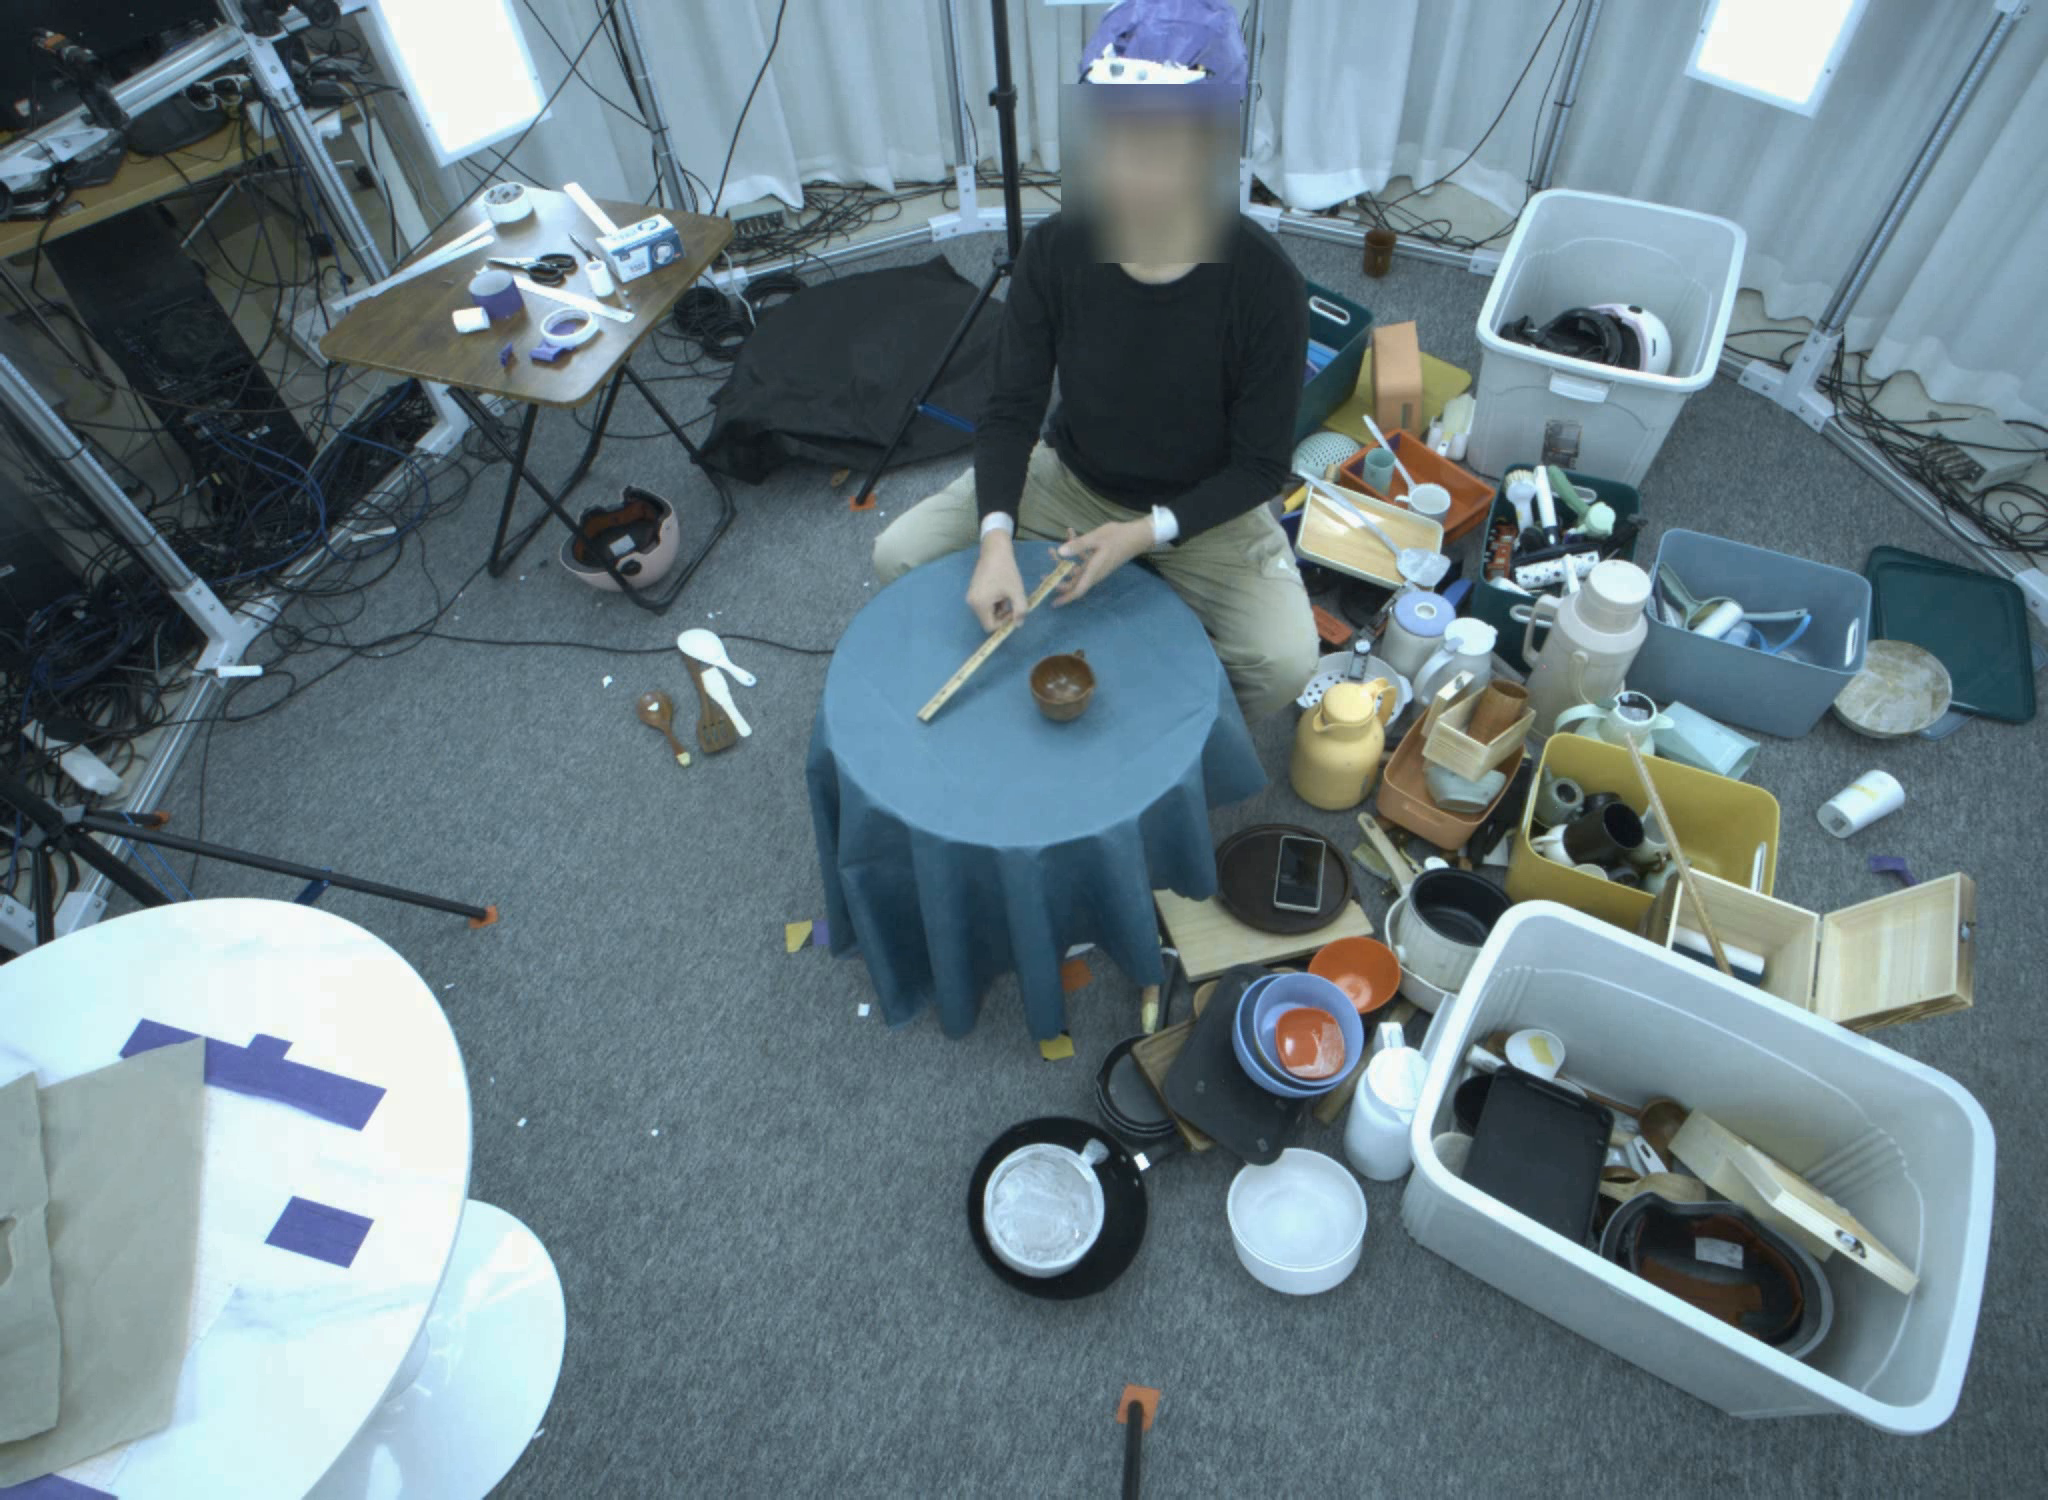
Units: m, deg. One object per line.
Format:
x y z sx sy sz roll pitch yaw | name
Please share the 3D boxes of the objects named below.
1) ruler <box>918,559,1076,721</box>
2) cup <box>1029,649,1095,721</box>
-0.042 -0.170 1.845 0.332 0.022 0.027 -47 44 -9 | ruler
0.062 -0.095 1.813 0.095 0.068 0.119 18 56 17 | cup
